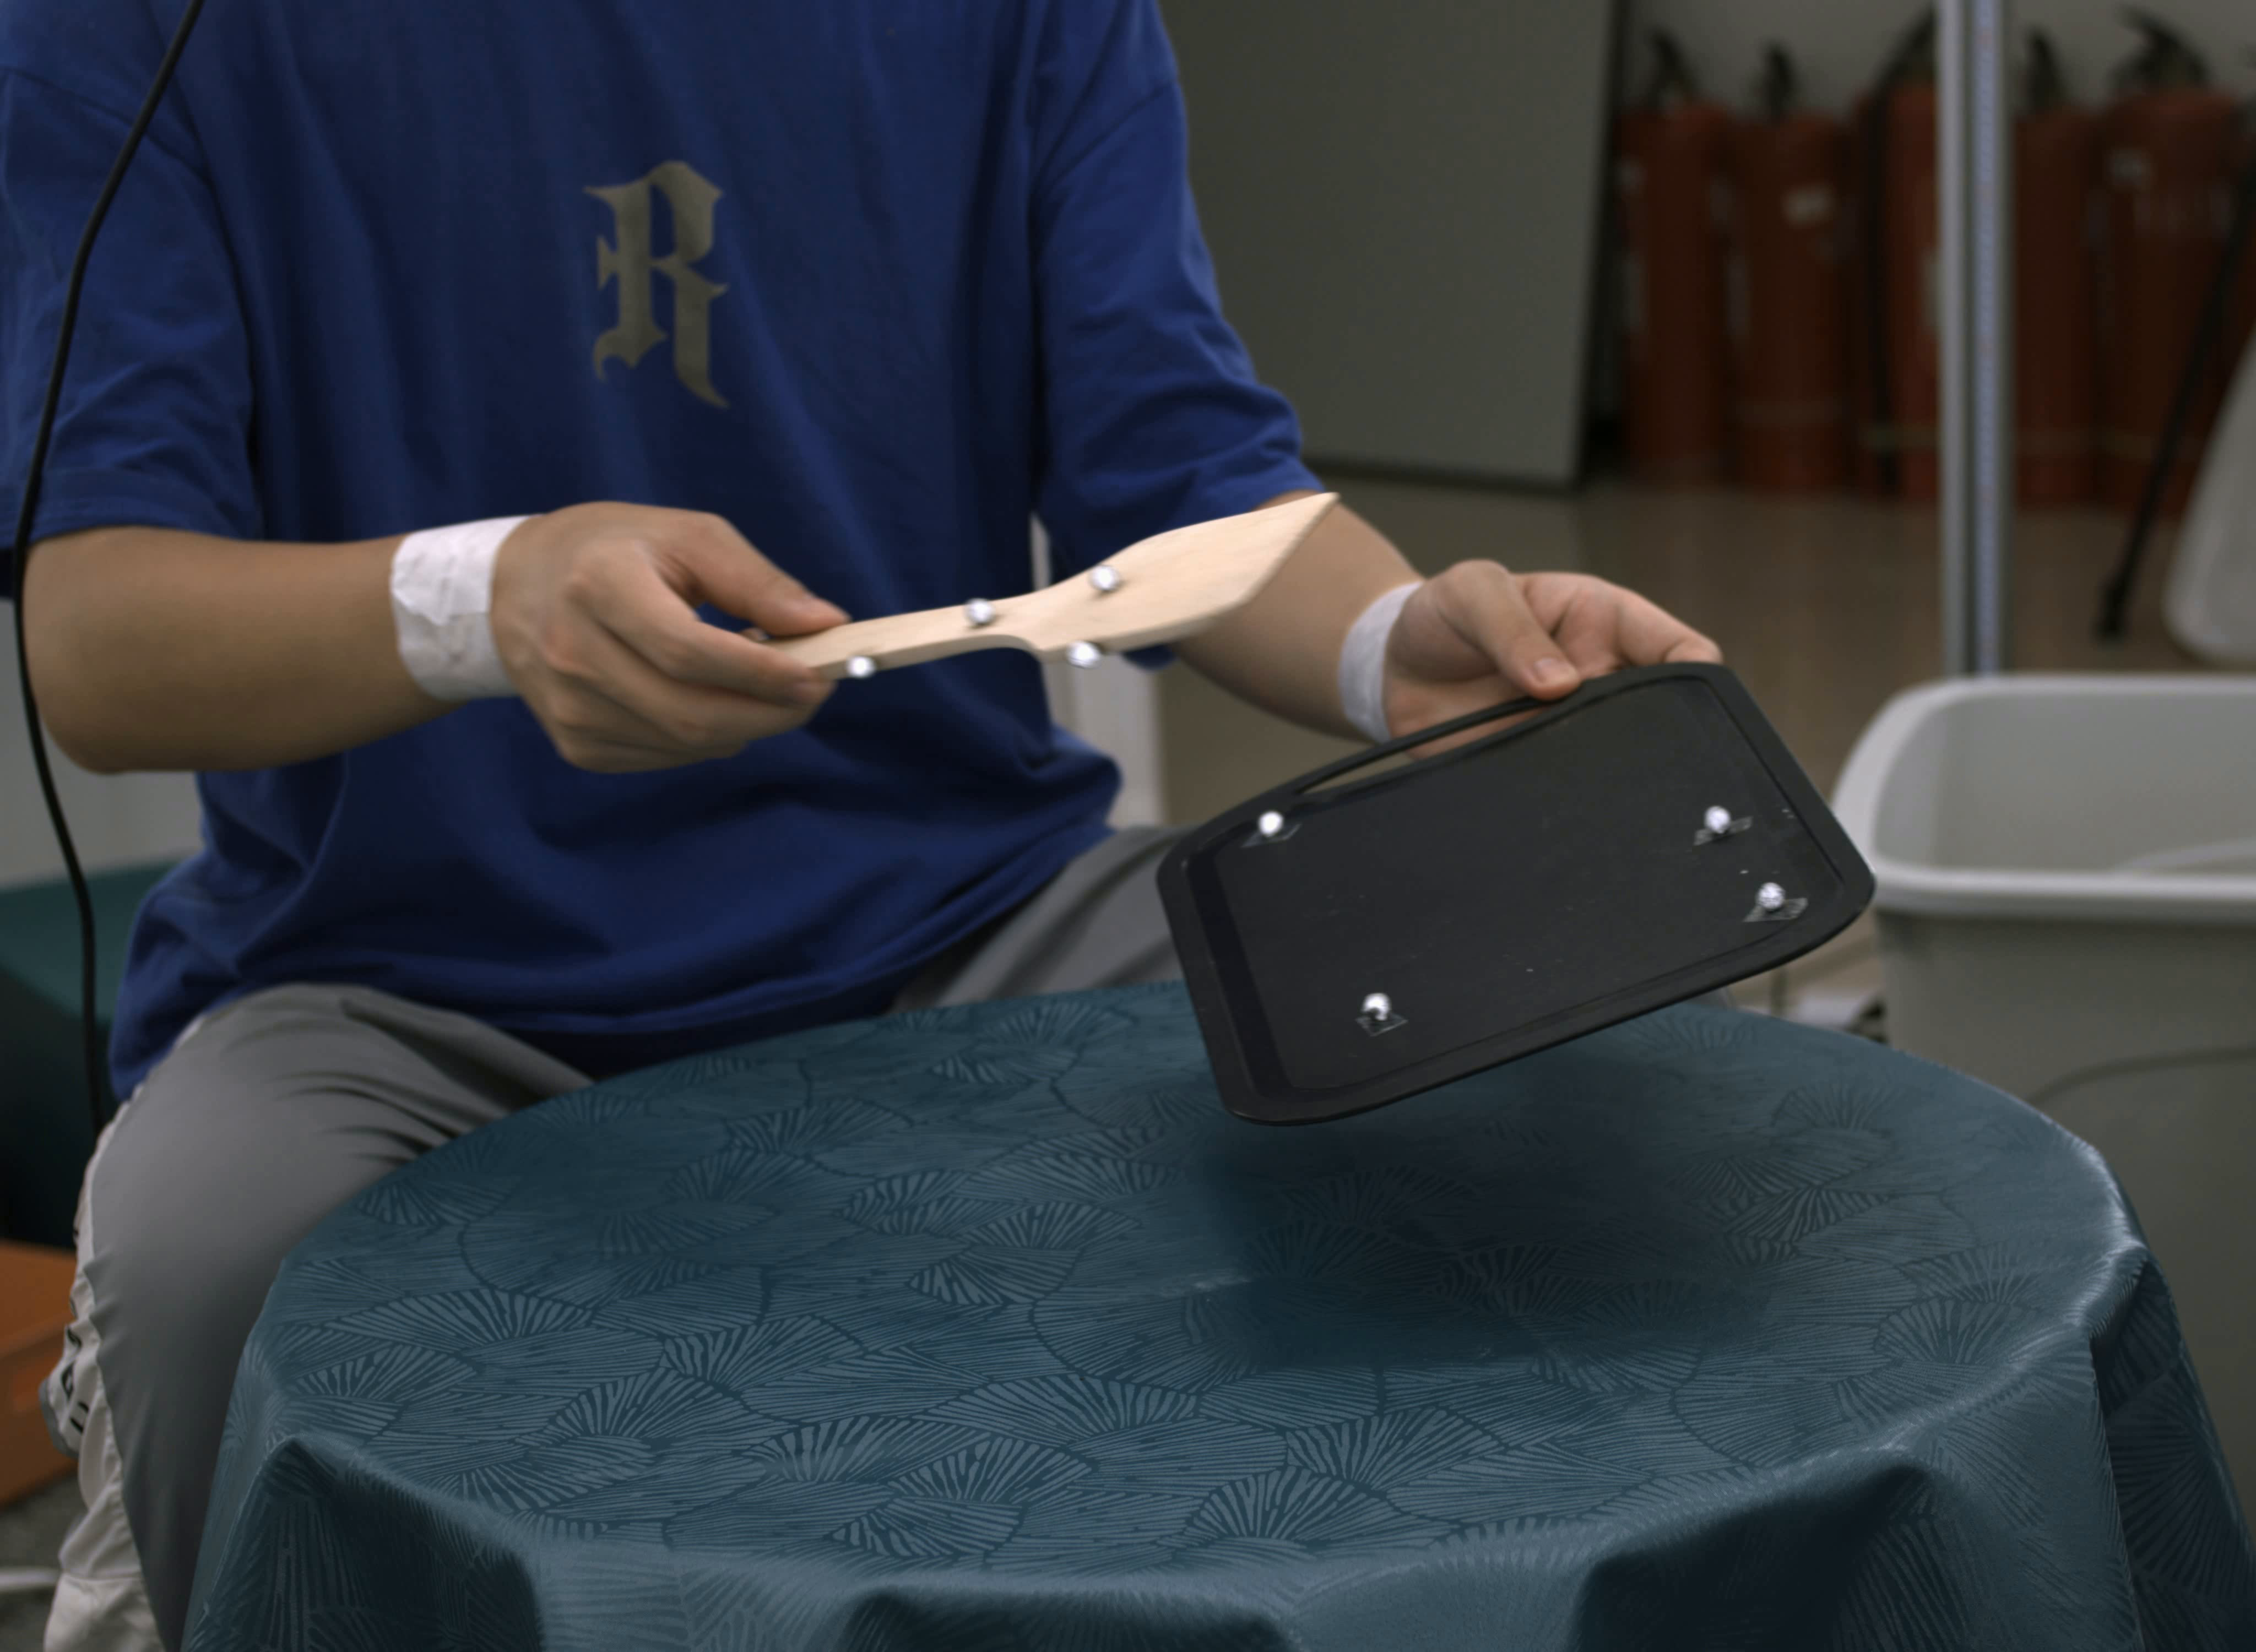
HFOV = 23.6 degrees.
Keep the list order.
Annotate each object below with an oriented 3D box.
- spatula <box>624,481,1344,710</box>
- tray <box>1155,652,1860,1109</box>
[{"bbox_3d":[-0.057,-0.065,1.742,0.295,0.010,0.072,-10,29,40],"label":"spatula"},{"bbox_3d":[0.113,0.010,1.729,0.209,0.010,0.326,-20,17,3],"label":"tray"}]
